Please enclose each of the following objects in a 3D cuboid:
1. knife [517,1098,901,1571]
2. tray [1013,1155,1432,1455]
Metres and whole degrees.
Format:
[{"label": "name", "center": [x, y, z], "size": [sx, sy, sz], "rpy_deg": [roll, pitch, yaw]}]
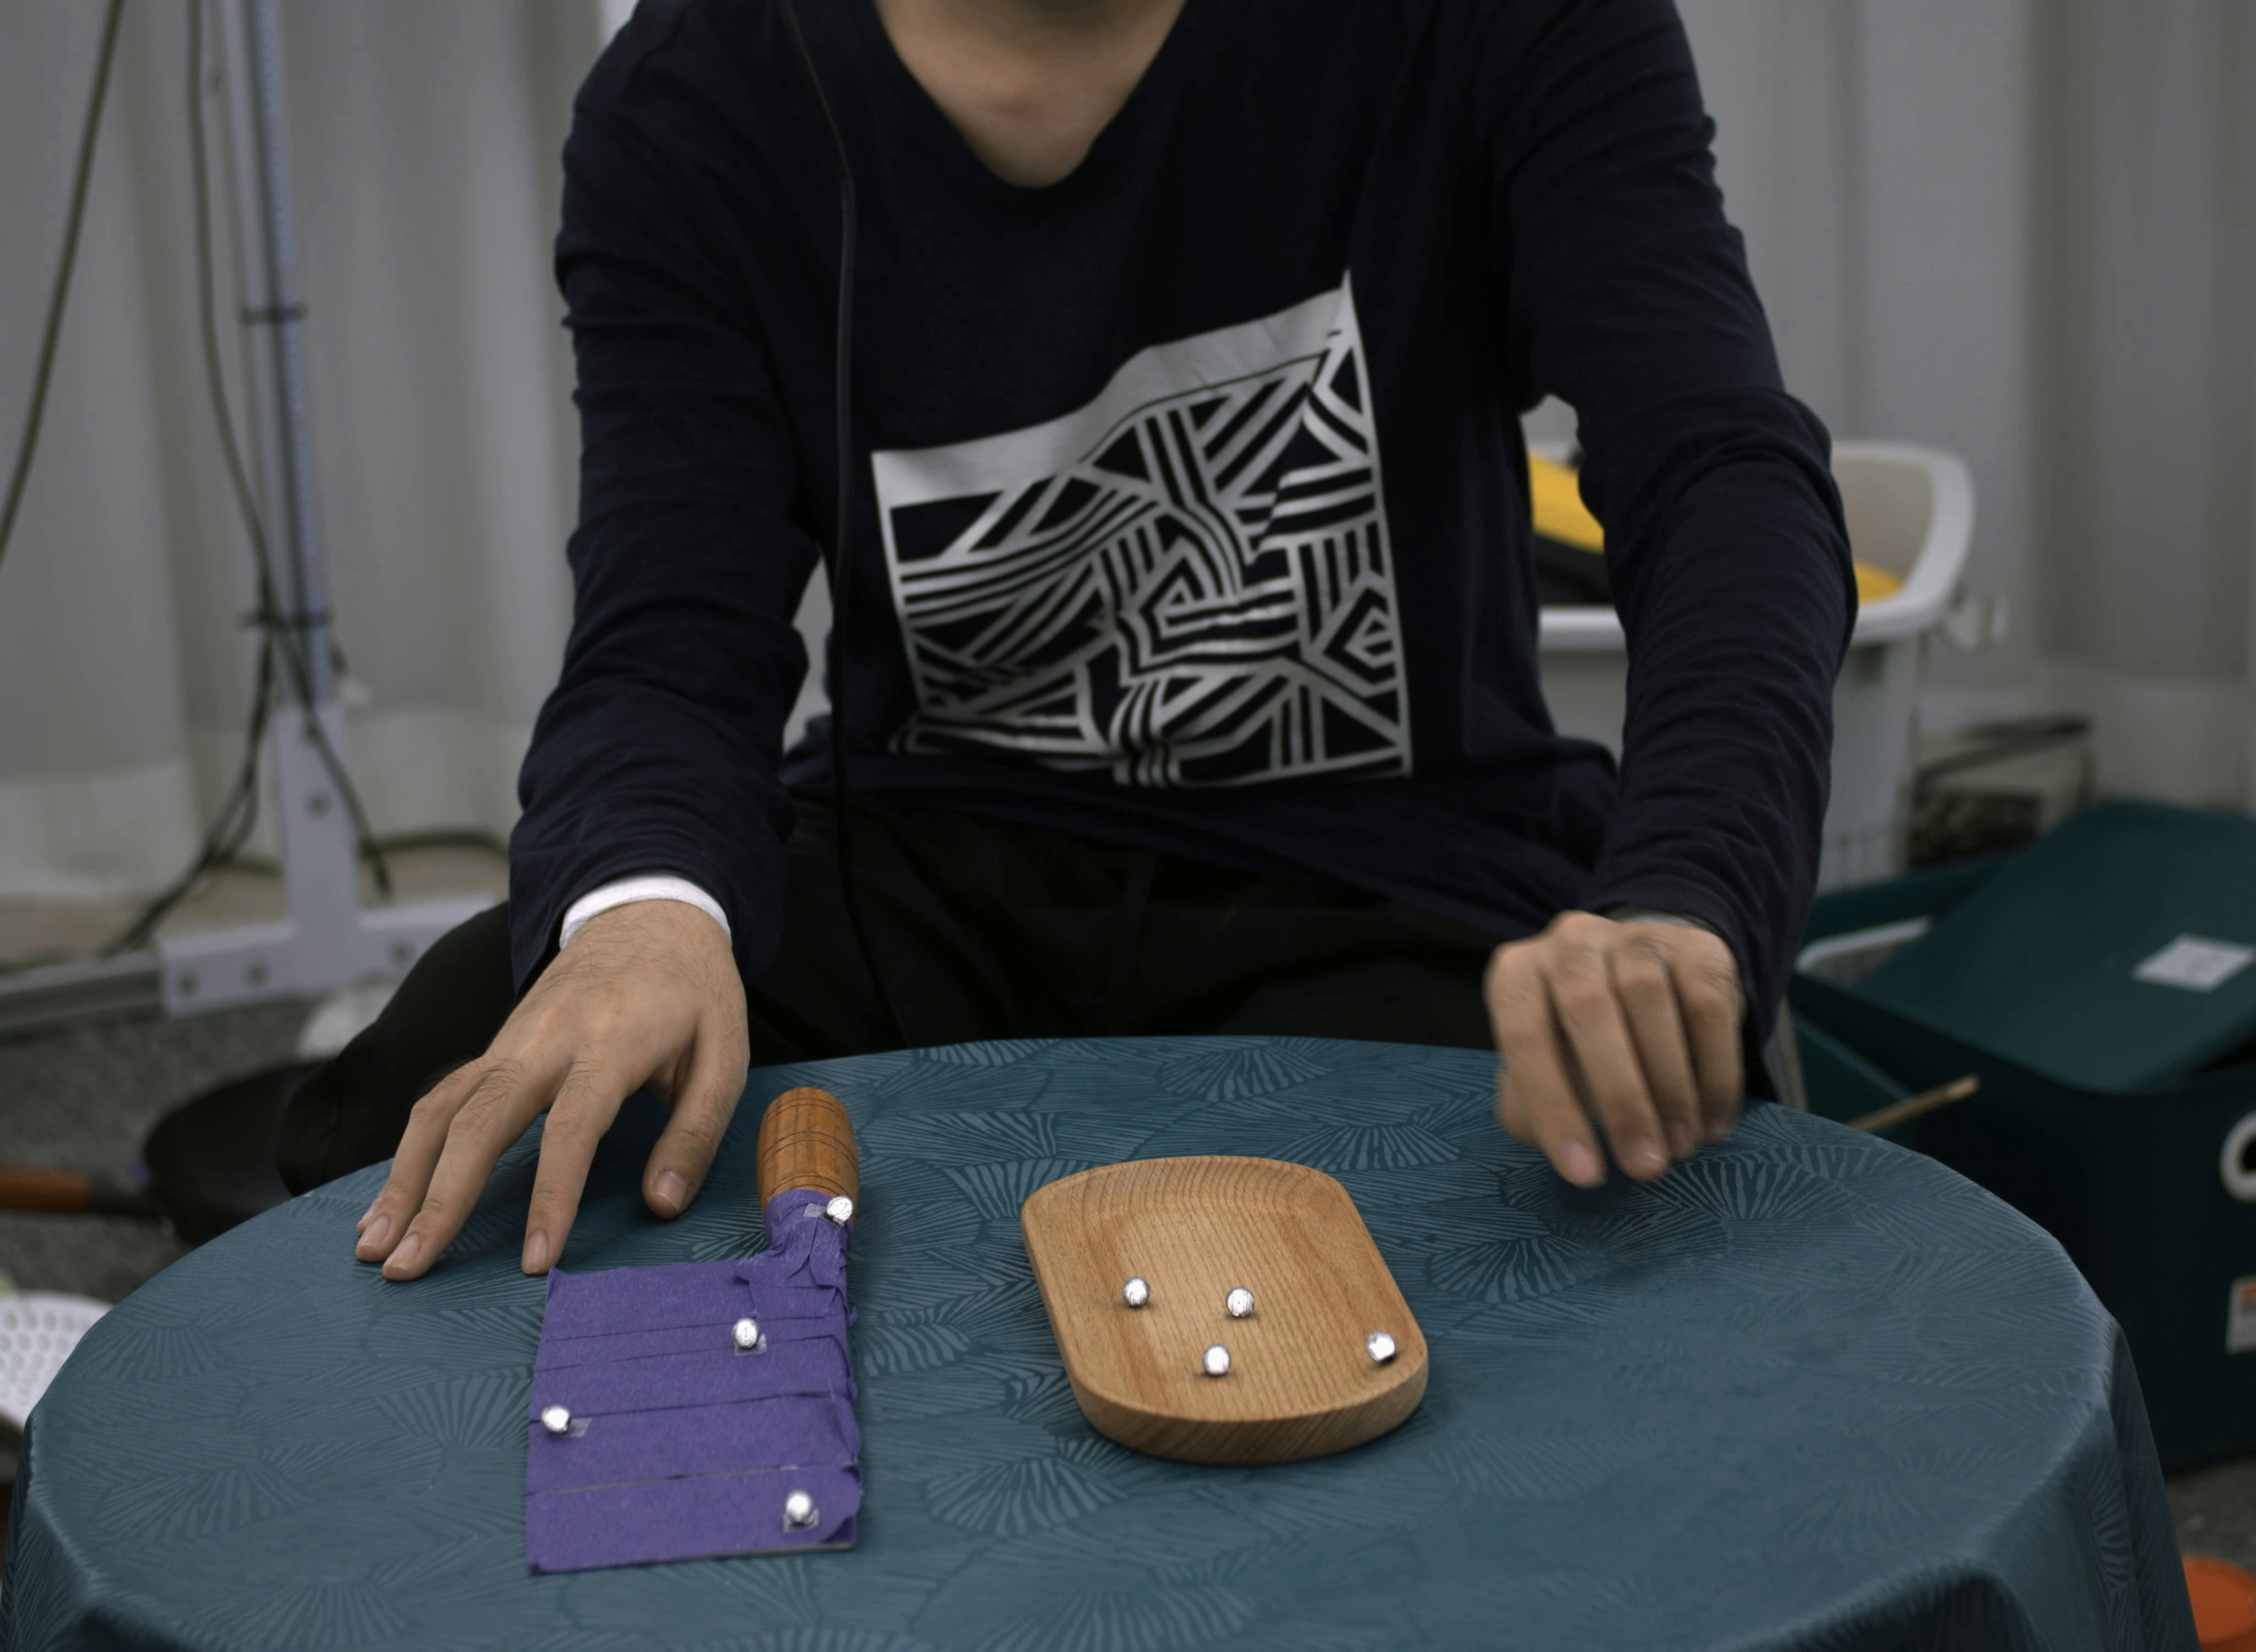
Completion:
[{"label": "knife", "center": [-0.124, 0.143, 1.583], "size": [0.103, 0.032, 0.317], "rpy_deg": [-4, 15, -4]}, {"label": "tray", "center": [0.025, 0.137, 1.595], "size": [0.101, 0.020, 0.233], "rpy_deg": [-4, 13, -8]}]
